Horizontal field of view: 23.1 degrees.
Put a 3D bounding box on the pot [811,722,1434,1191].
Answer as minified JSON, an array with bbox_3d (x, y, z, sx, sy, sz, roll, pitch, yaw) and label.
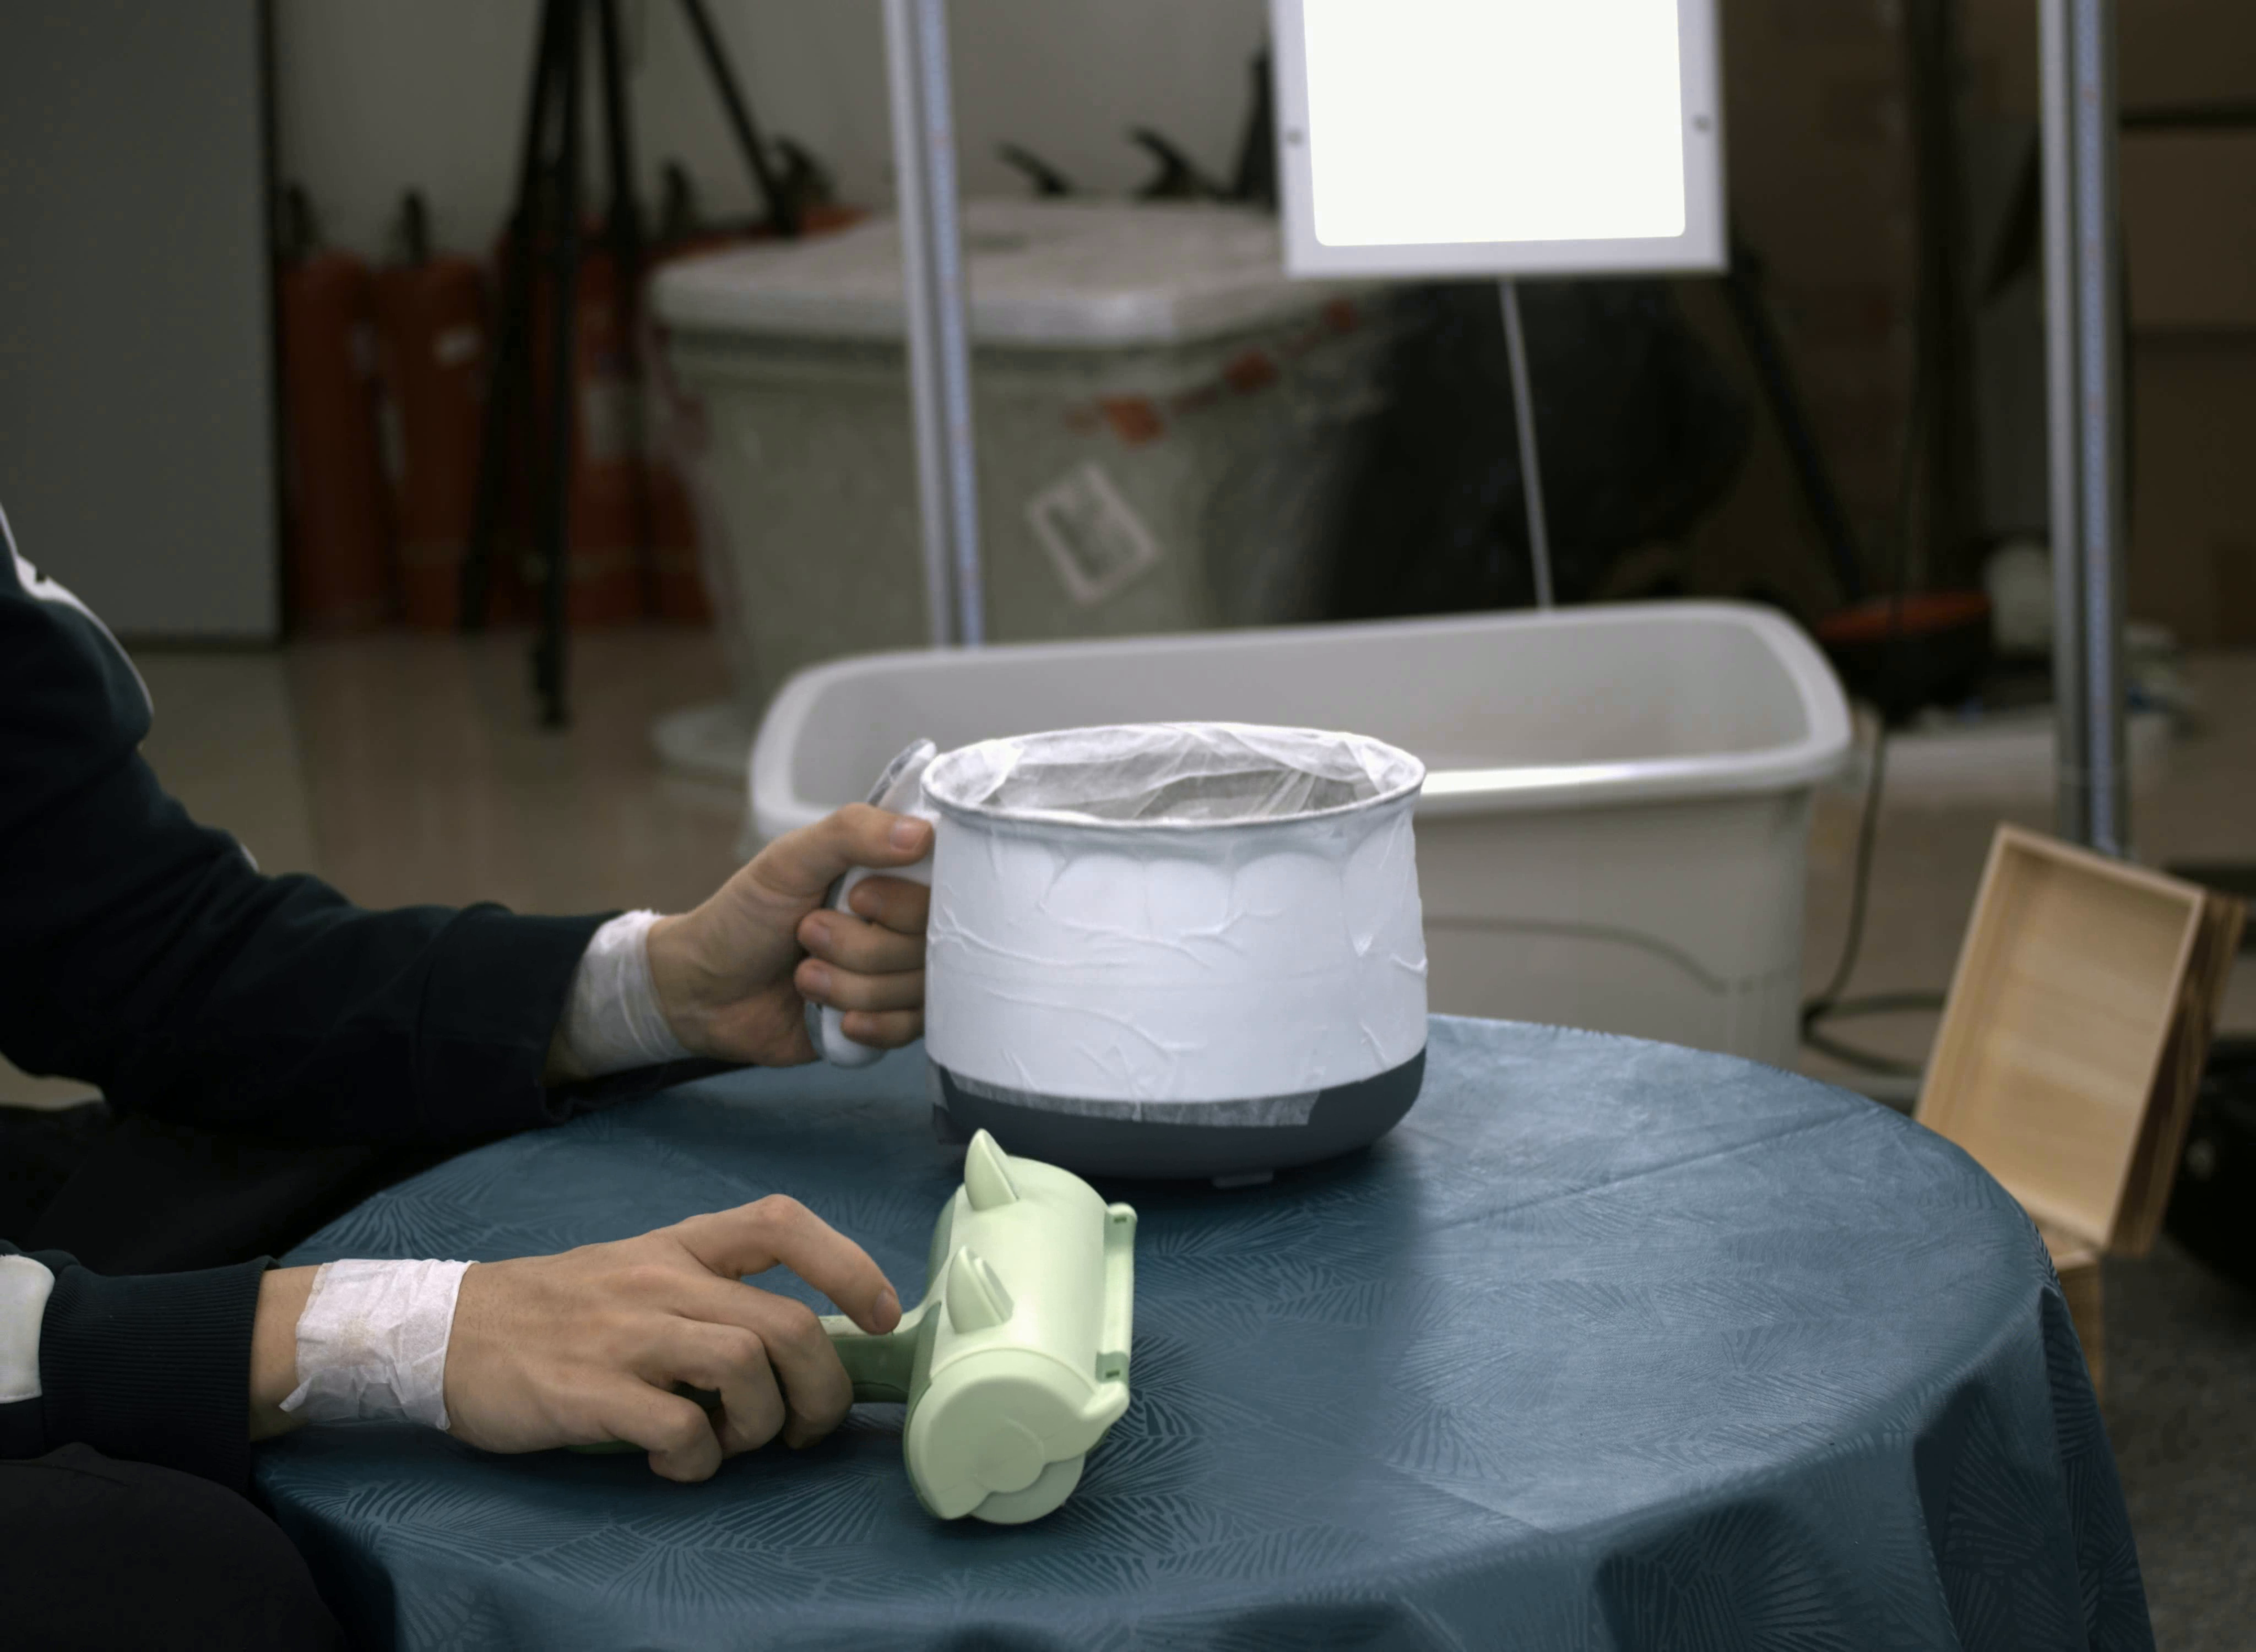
[{"bbox_3d":[-0.007,0.041,1.935,0.237,0.137,0.175,5,13,26],"label":"pot"}]

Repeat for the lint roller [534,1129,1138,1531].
[{"bbox_3d":[-0.090,0.149,1.673,0.183,0.082,0.197,0,14,3],"label":"lint roller"}]
